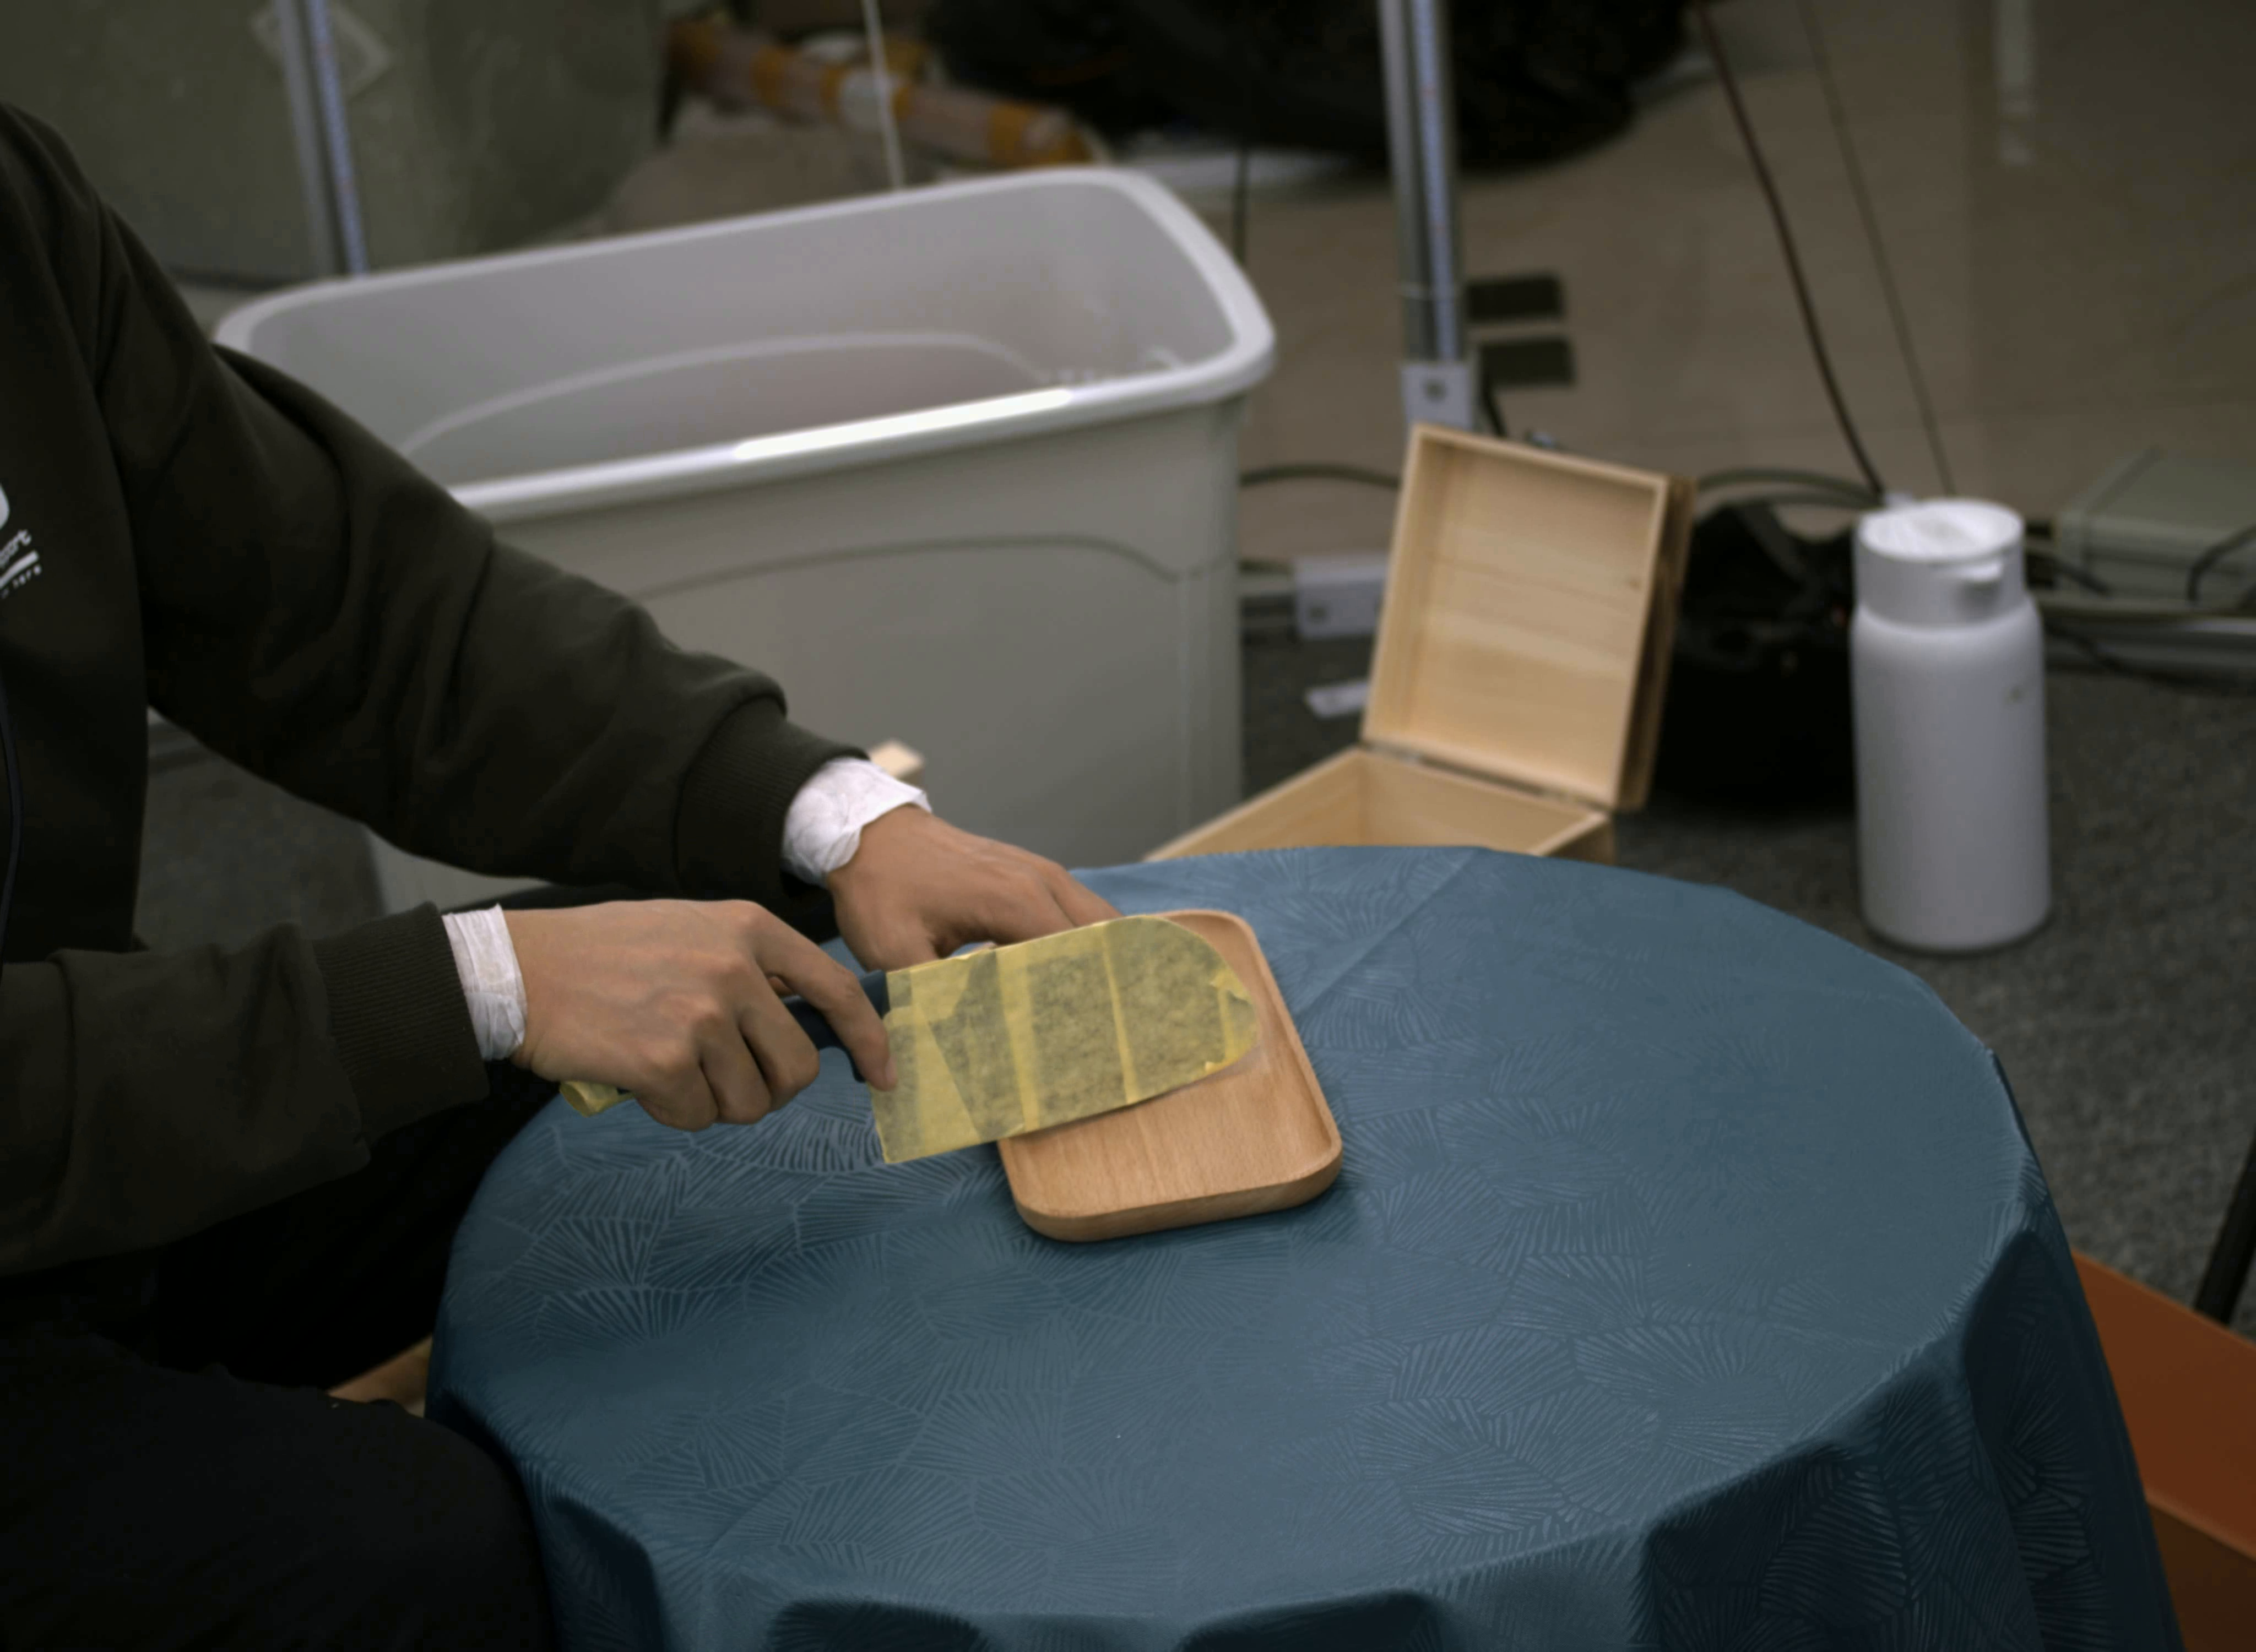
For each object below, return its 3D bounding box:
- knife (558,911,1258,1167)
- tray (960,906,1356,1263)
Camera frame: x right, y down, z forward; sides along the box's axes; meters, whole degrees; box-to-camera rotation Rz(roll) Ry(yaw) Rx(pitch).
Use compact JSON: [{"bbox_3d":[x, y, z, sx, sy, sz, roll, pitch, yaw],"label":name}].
[{"bbox_3d":[-0.079,0.087,2.155,0.288,0.081,0.027,-10,6,-24],"label":"knife"},{"bbox_3d":[0.007,0.099,2.227,0.130,0.023,0.247,-12,28,-4],"label":"tray"}]
